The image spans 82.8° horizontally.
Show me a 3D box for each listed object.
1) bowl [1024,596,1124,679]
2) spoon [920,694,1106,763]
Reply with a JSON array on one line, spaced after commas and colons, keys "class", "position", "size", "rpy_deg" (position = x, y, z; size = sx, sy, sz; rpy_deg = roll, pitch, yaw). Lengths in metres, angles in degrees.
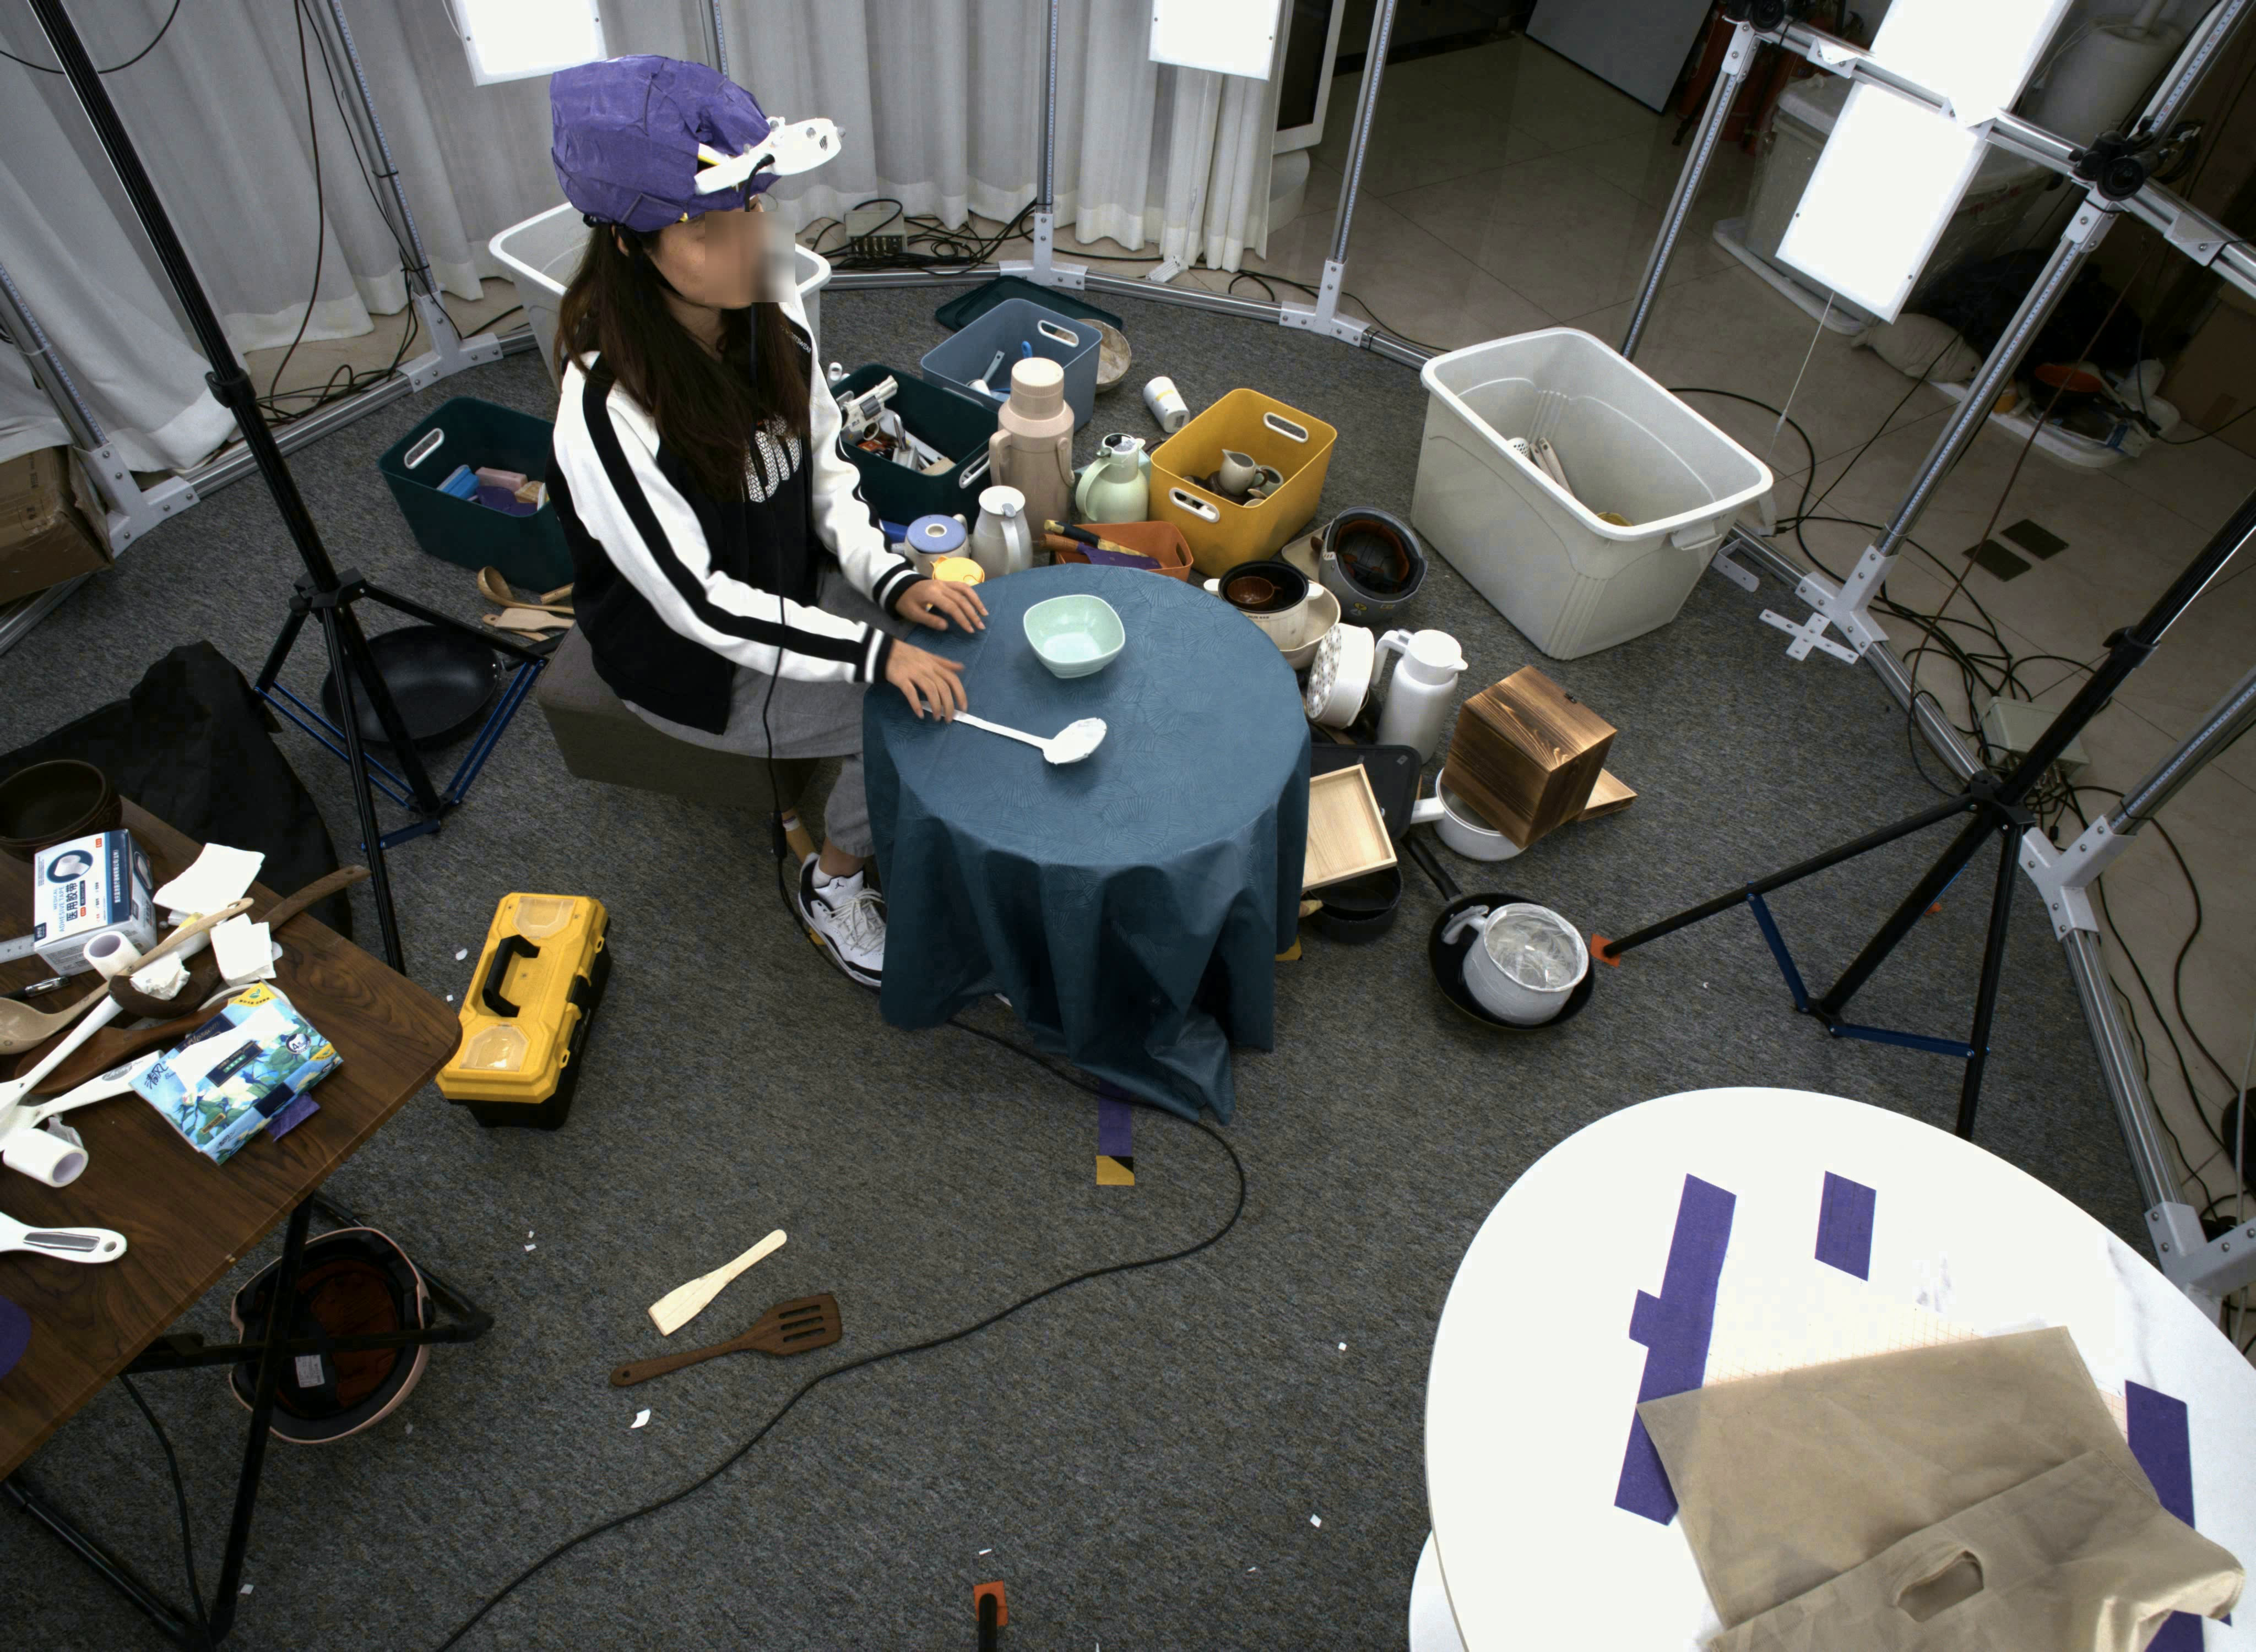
[{"class": "bowl", "position": [-0.079, -0.264, 1.859], "size": [0.151, 0.057, 0.155], "rpy_deg": [2, 49, -3]}, {"class": "spoon", "position": [-0.160, -0.153, 1.755], "size": [0.279, 0.058, 0.102], "rpy_deg": [22, 46, 15]}]
